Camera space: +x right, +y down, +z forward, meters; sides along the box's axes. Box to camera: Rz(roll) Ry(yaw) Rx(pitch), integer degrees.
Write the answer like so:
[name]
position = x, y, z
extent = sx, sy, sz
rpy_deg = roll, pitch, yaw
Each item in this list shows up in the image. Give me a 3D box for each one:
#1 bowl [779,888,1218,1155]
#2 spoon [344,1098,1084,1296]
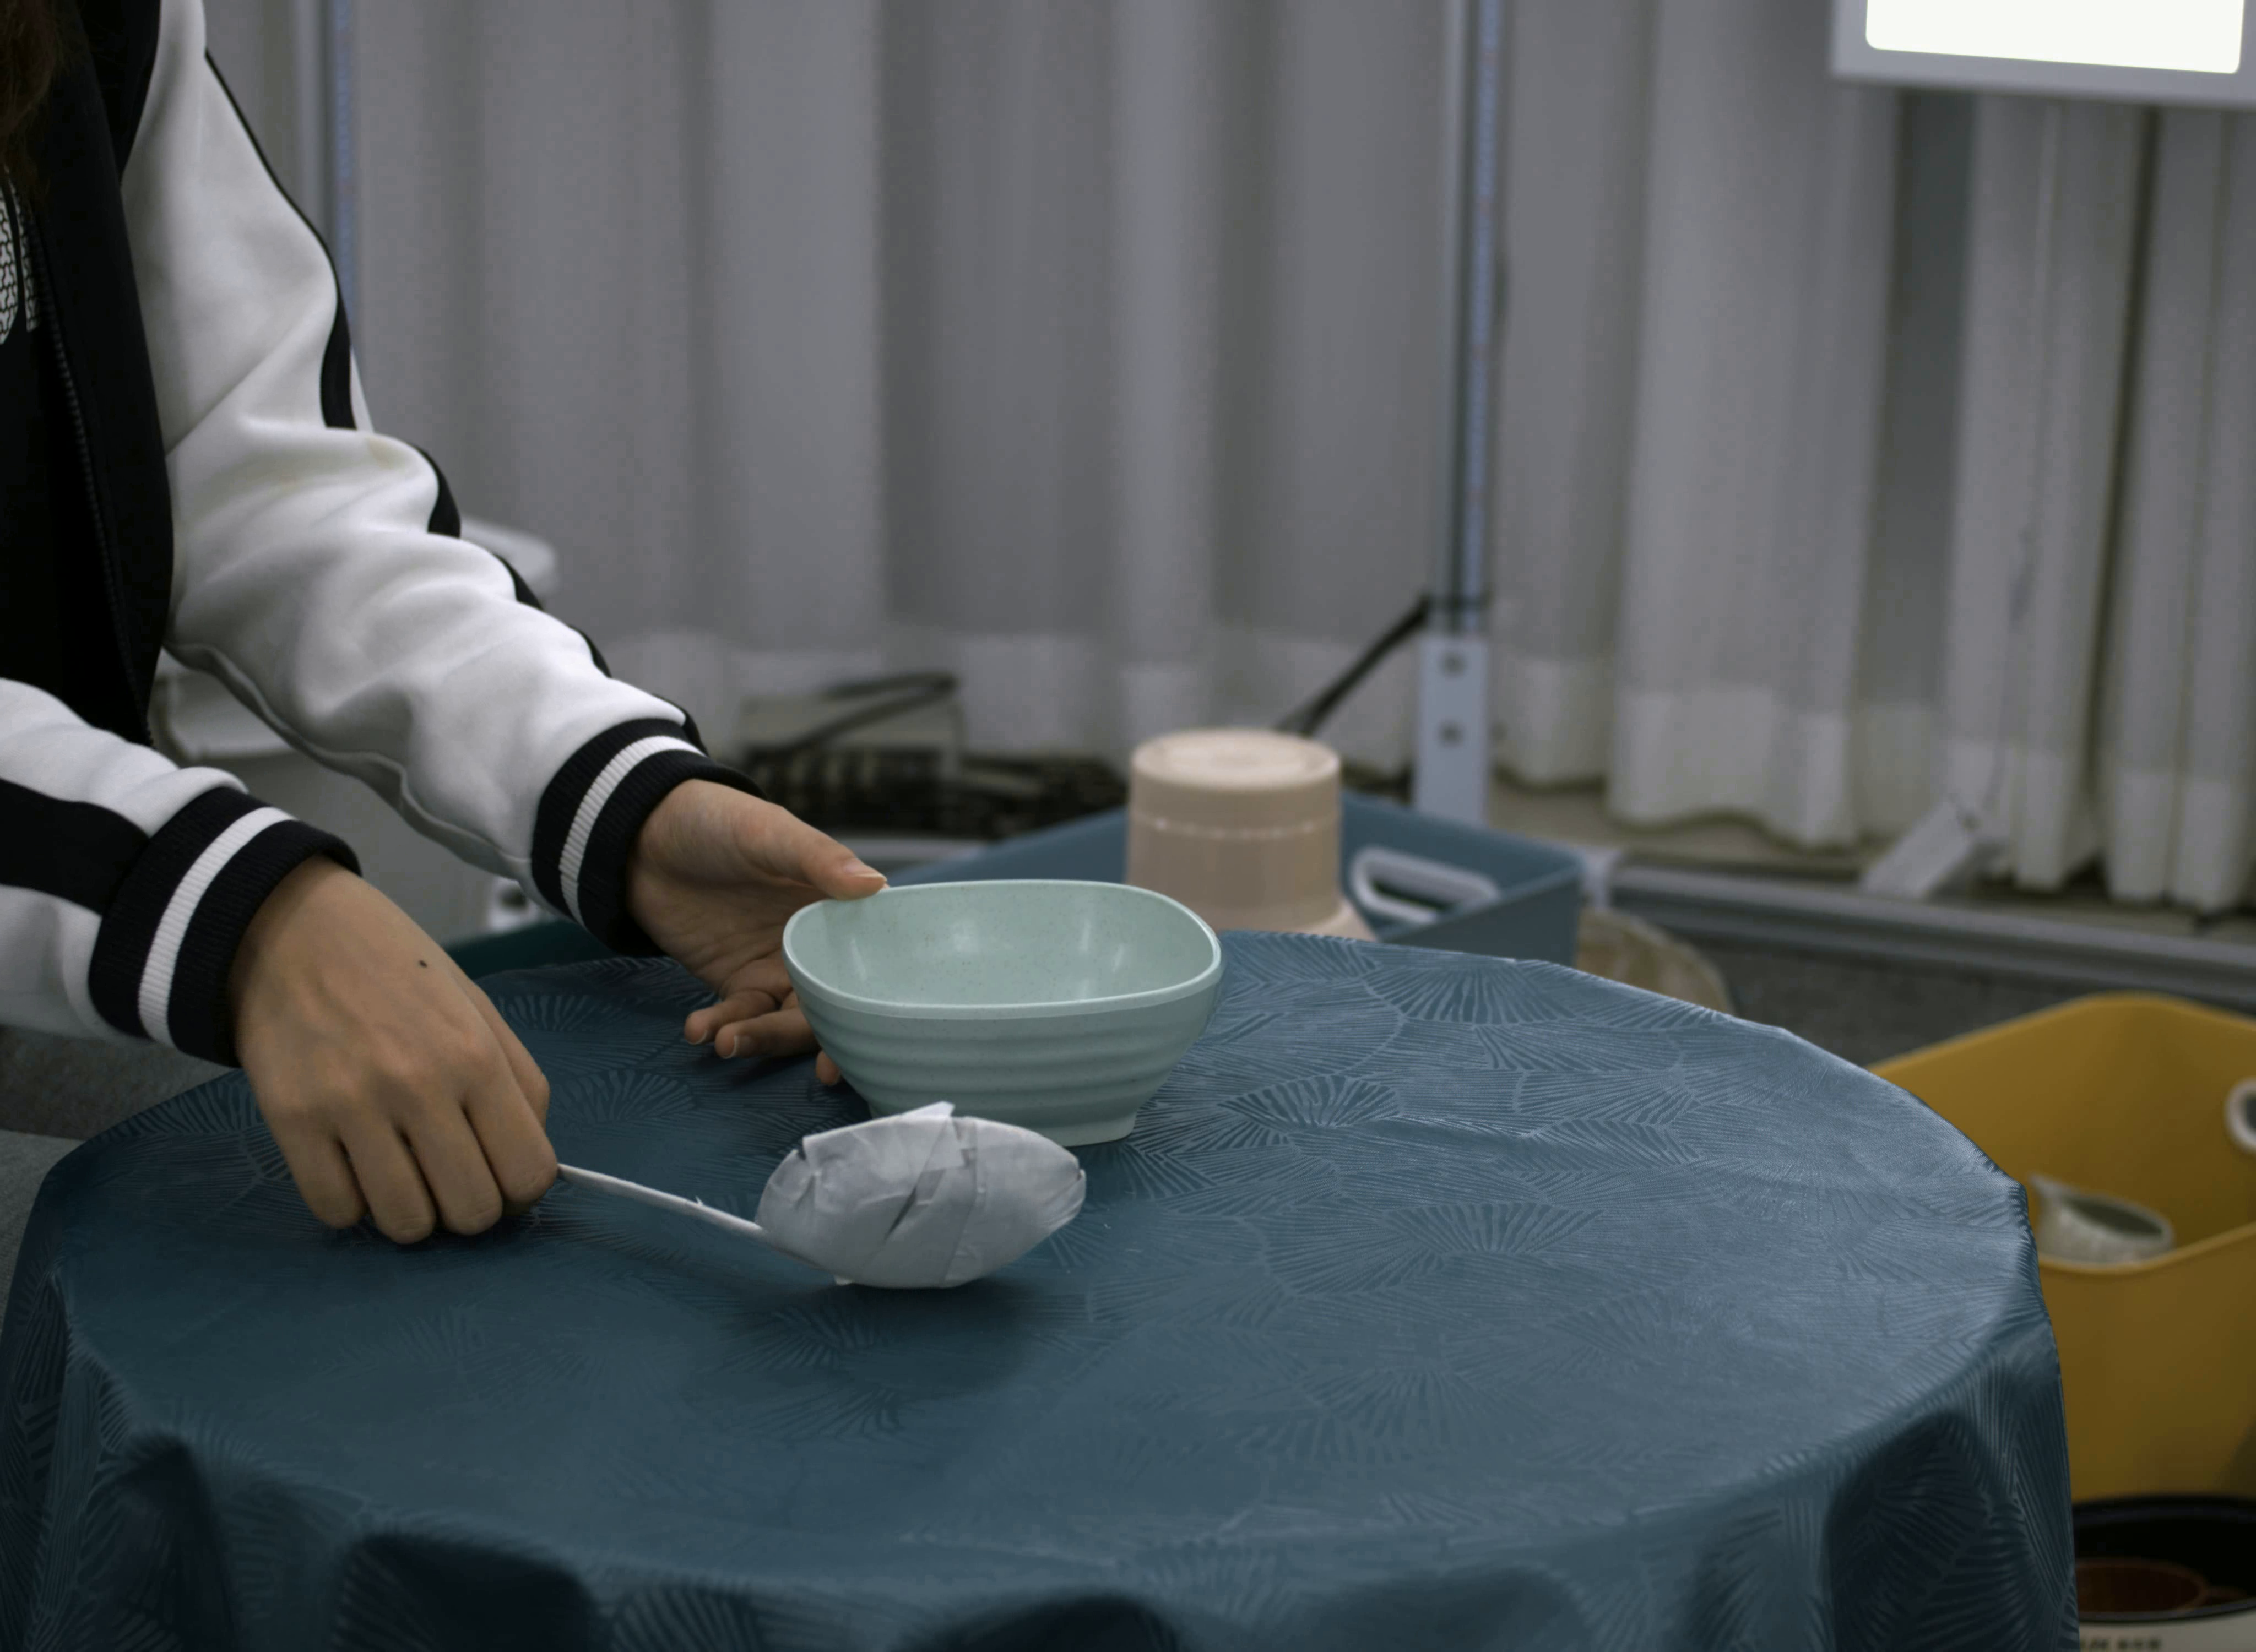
[bowl]
position = -0.041, 0.066, 1.687
extent = 0.151, 0.059, 0.150
rpy_deg = 1, 15, 0
[spoon]
position = -0.130, 0.092, 1.576
extent = 0.274, 0.059, 0.102
rpy_deg = 13, -22, 41
